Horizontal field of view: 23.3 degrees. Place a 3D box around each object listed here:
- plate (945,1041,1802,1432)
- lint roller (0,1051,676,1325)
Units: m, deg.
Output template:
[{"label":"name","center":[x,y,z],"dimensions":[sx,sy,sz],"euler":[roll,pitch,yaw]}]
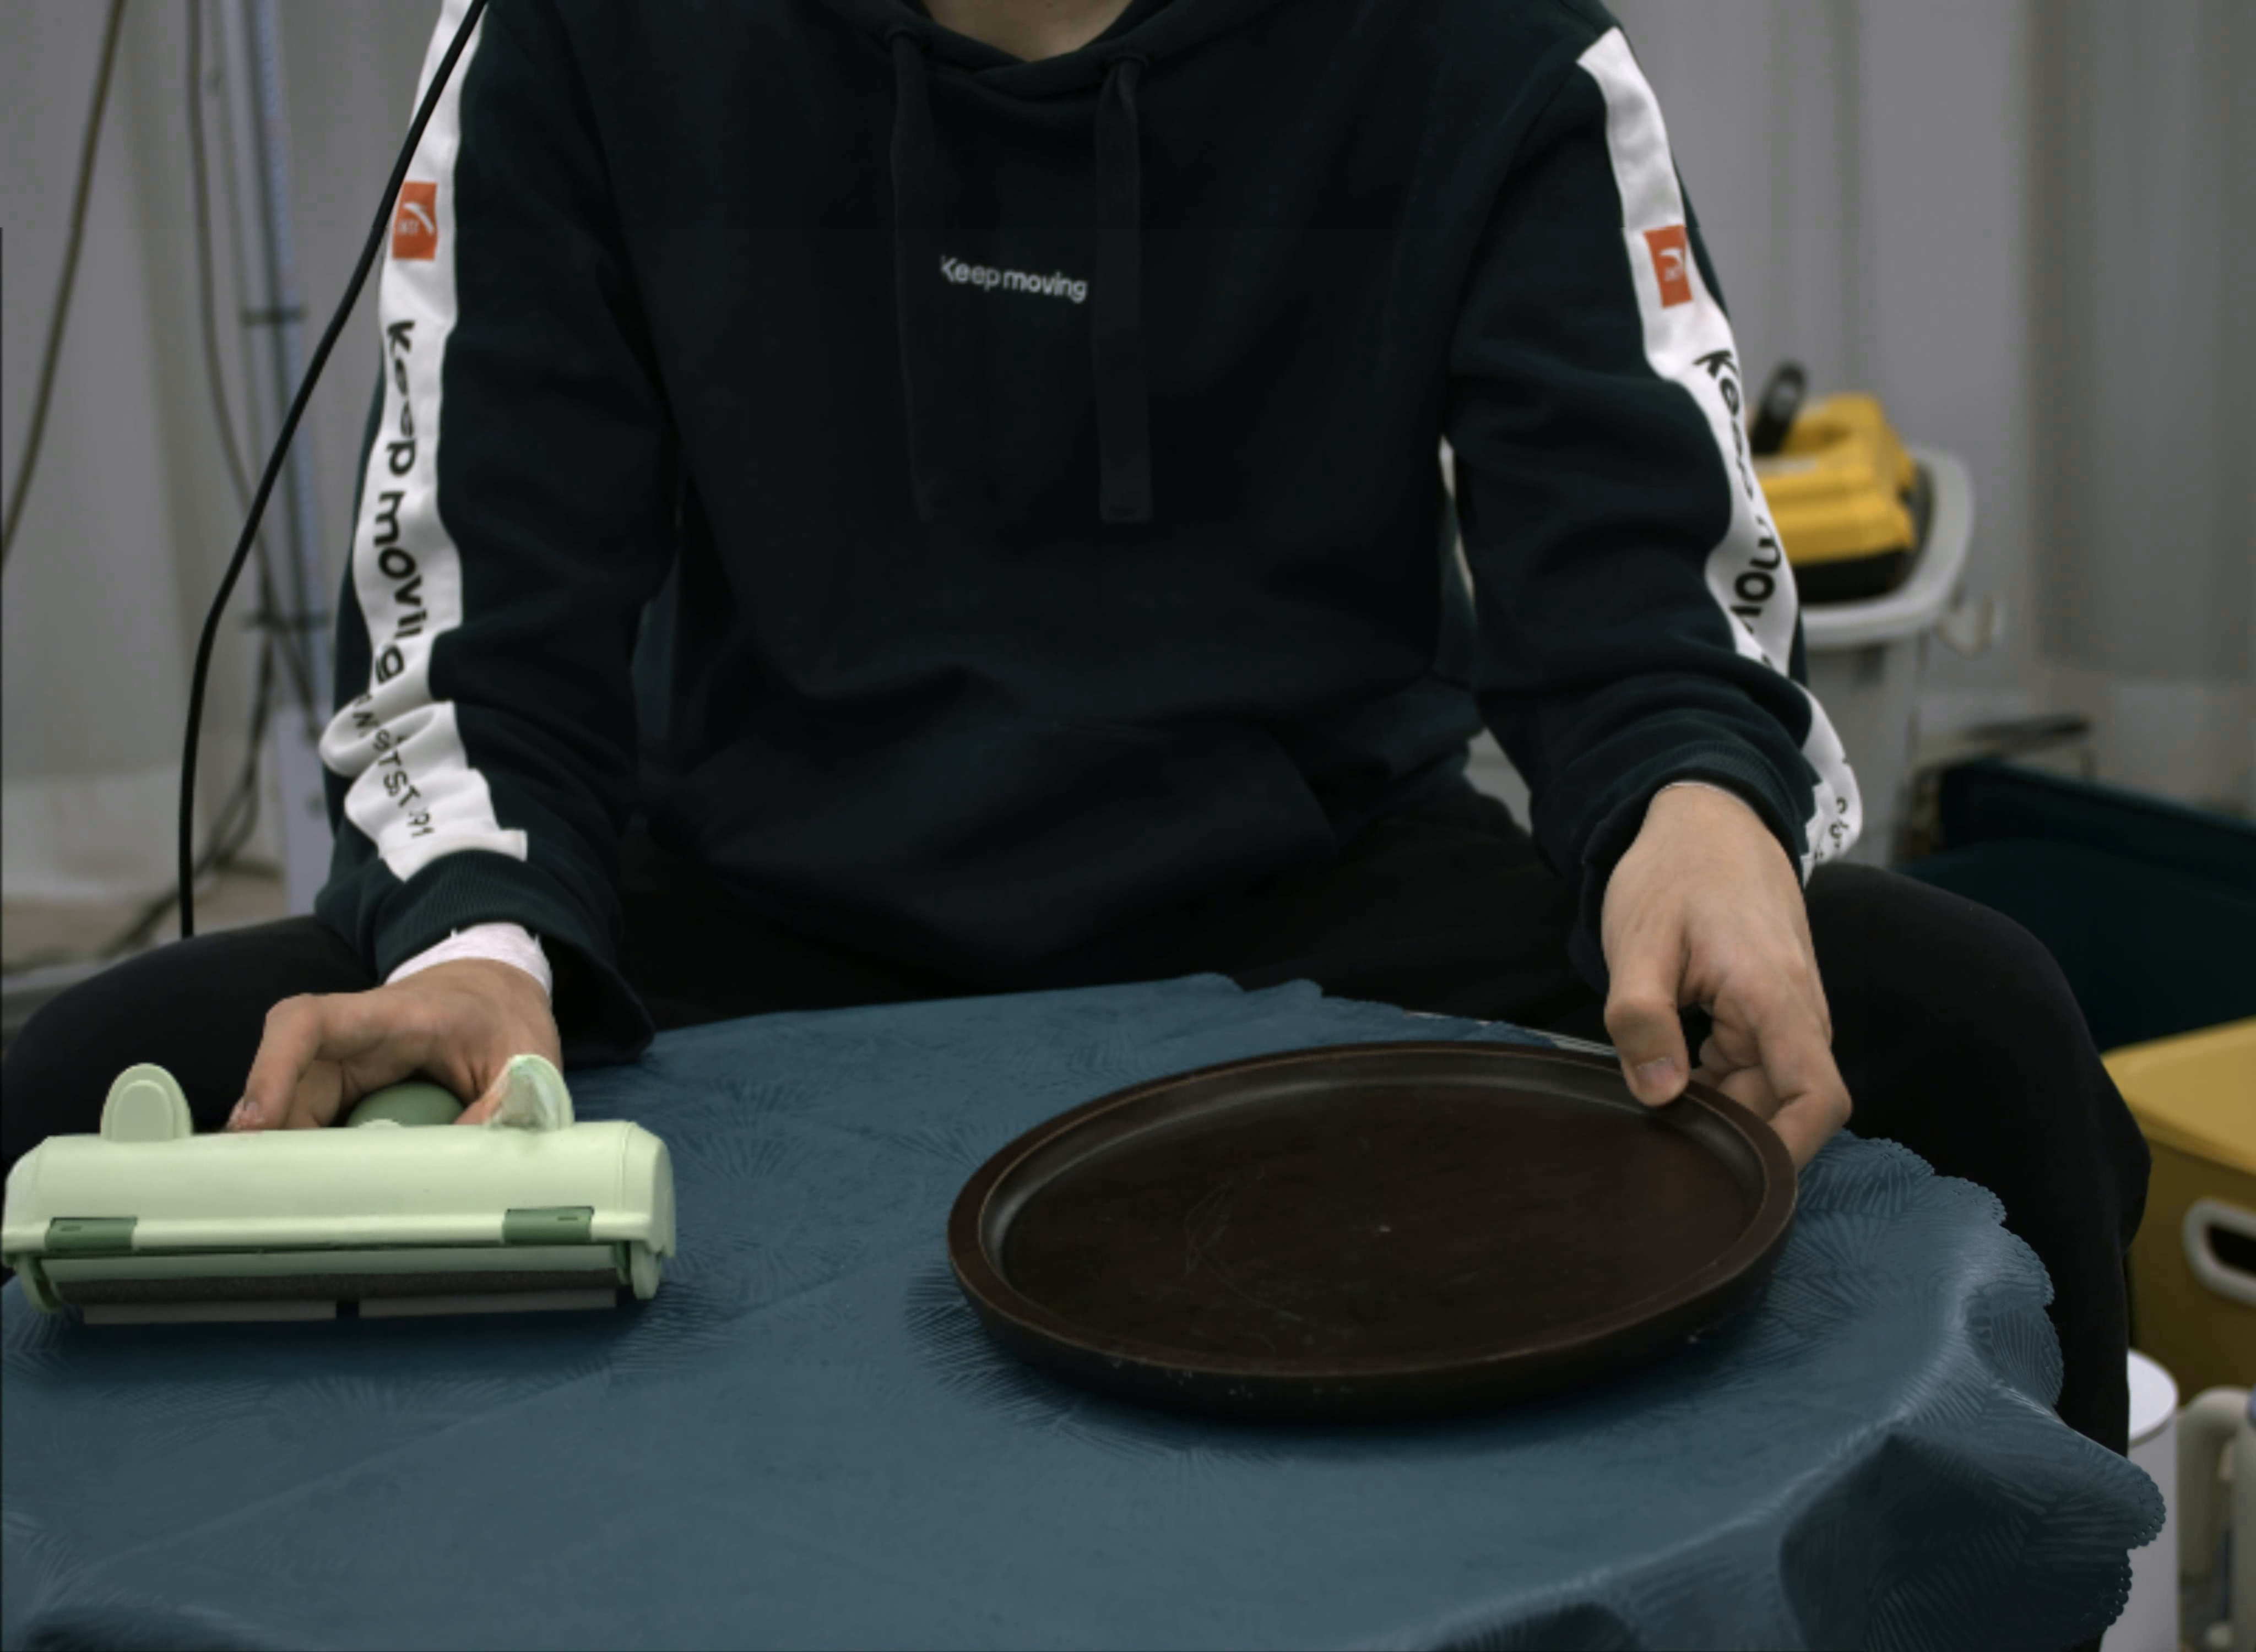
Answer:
[{"label":"plate","center":[0.072,0.119,1.610],"dimensions":[0.254,0.029,0.257],"euler":[-6,19,2]},{"label":"lint roller","center":[-0.233,0.092,1.684],"dimensions":[0.198,0.081,0.185],"euler":[-2,20,4]}]
